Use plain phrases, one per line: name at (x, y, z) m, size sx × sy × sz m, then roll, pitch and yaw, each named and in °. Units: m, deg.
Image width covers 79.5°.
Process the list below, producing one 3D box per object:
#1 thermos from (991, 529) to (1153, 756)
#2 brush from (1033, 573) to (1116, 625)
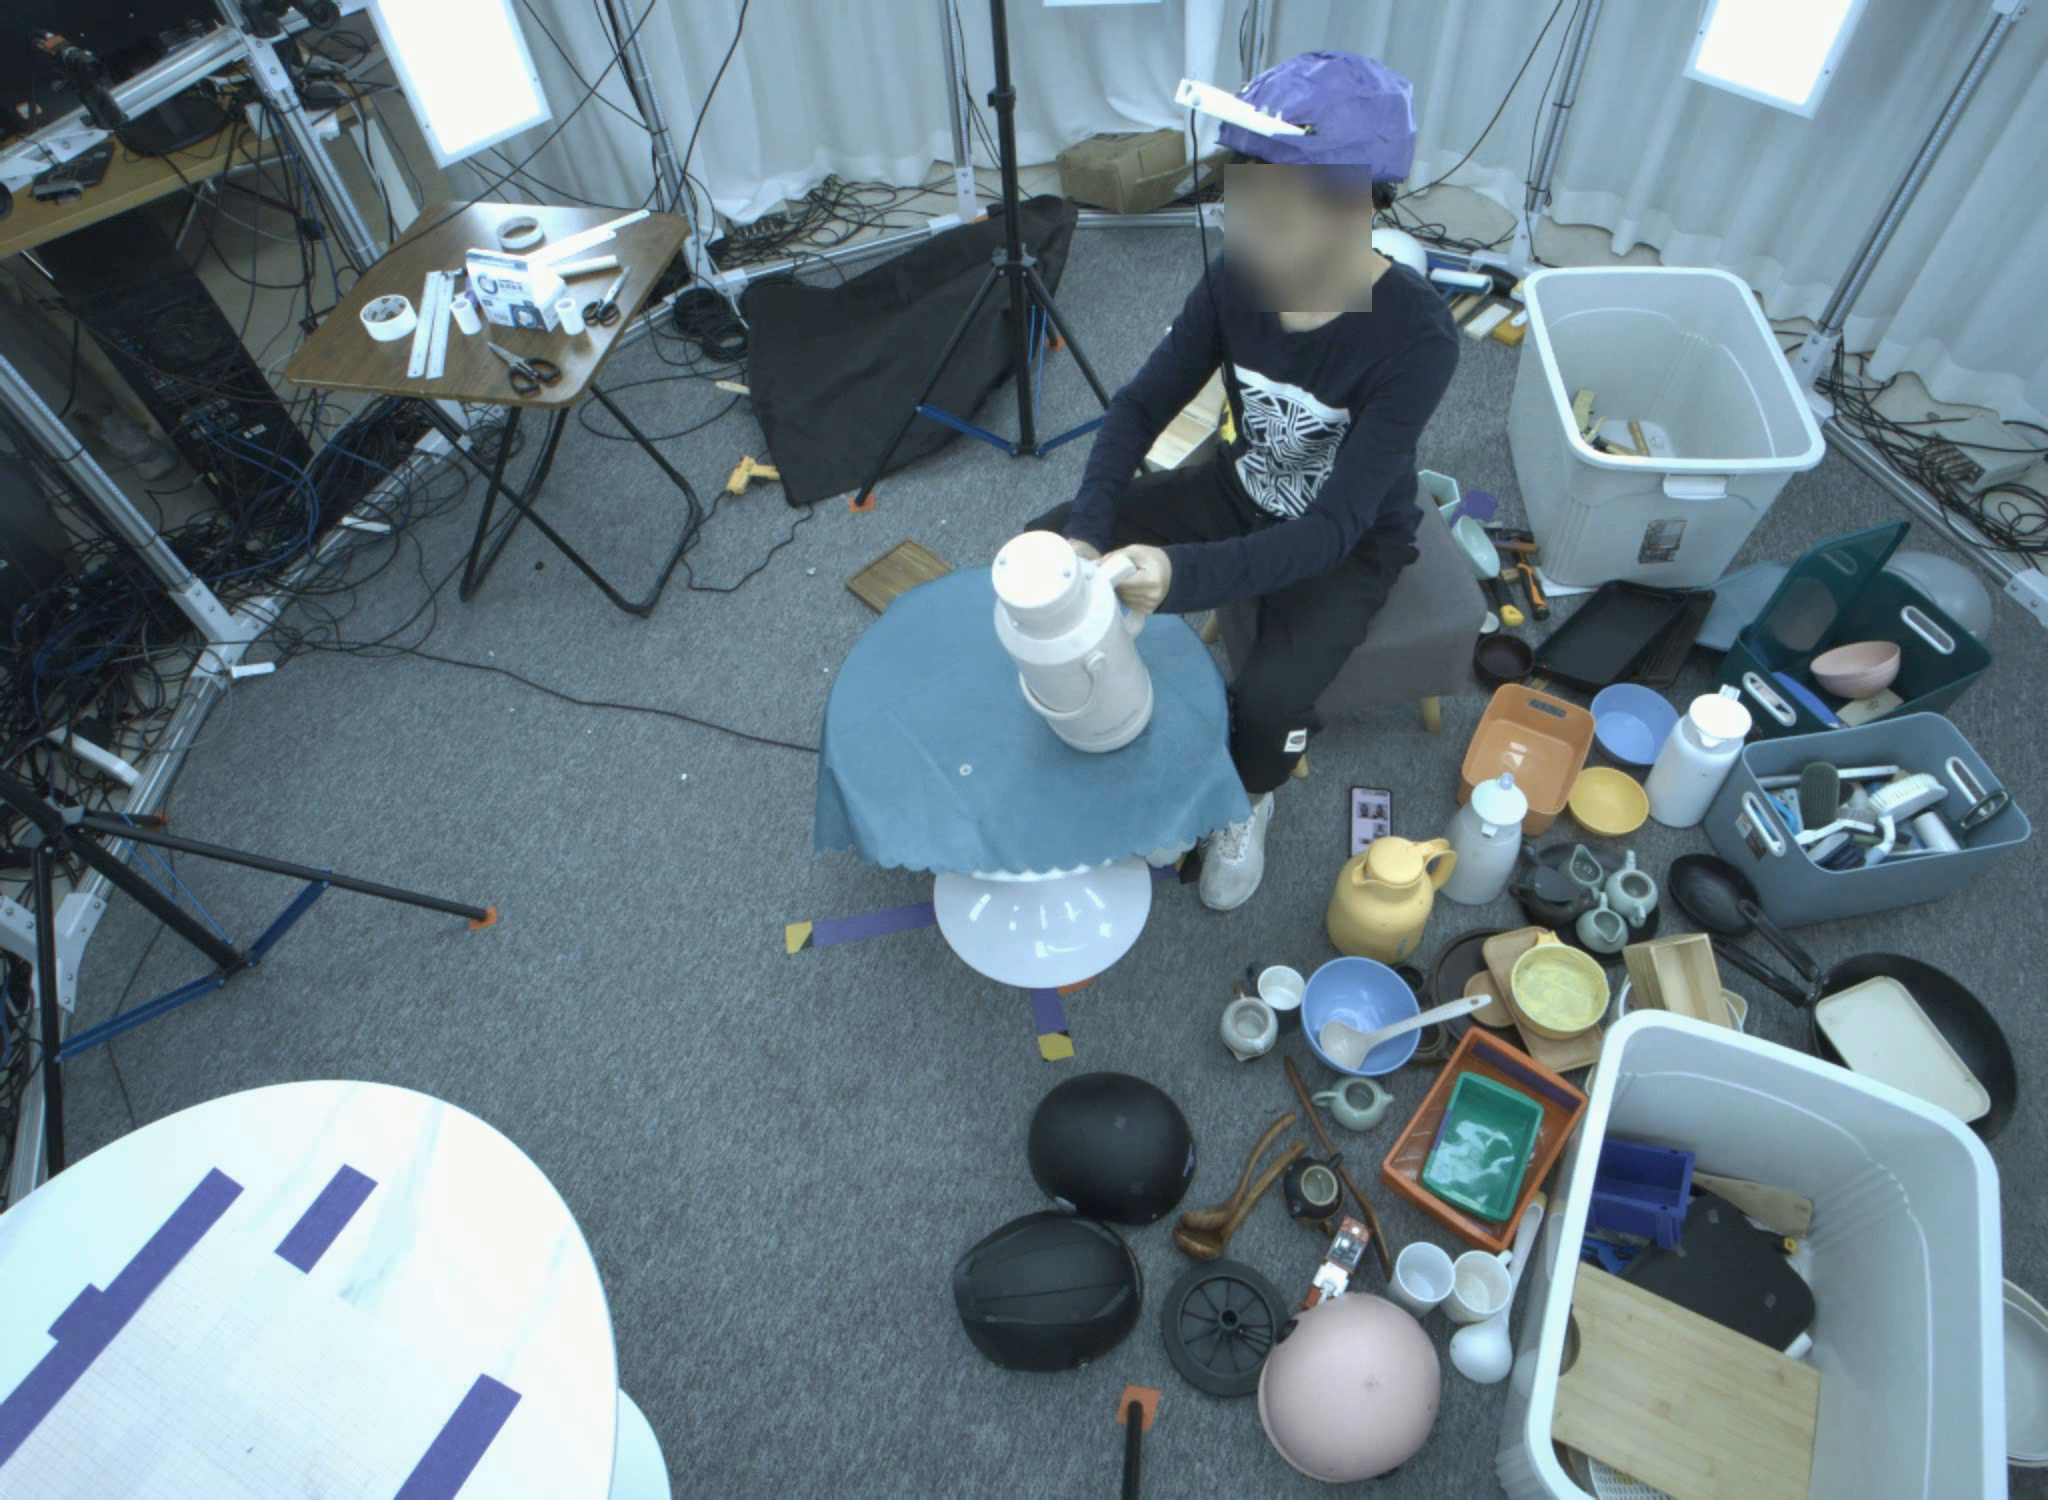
thermos at (0.073, -0.145, 1.614) m, size 0.207 × 0.413 × 0.172 m, roll -38°, pitch 63°, yaw -3°
brush at (0.076, -0.225, 1.805) m, size 0.082 × 0.056 × 0.145 m, roll 14°, pitch 25°, yaw 23°
